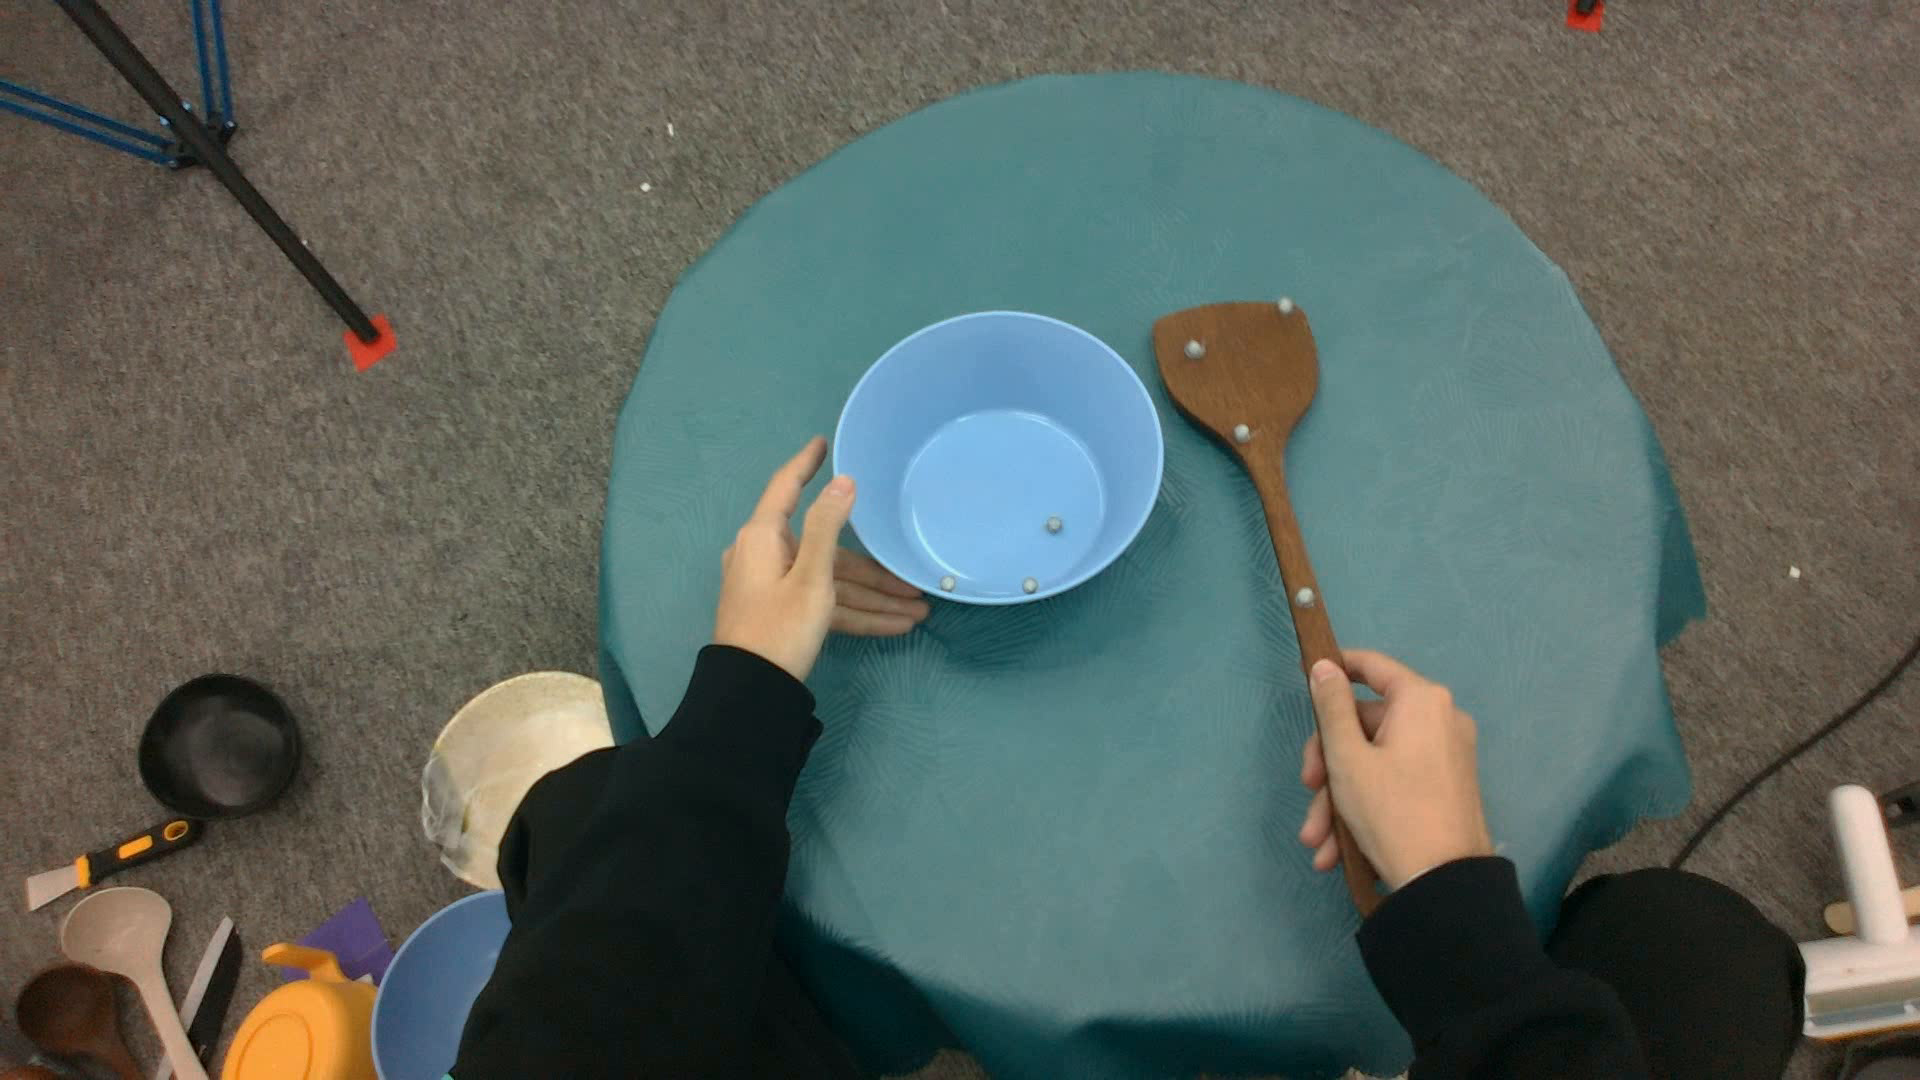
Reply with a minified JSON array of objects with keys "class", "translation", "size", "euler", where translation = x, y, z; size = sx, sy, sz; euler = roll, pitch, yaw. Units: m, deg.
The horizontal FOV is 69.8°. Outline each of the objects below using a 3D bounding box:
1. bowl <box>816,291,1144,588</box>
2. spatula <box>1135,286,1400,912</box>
[{"class":"bowl","translation":[0.012,-0.045,0.760],"size":[0.176,0.070,0.176],"euler":[-1,67,3]},{"class":"spatula","translation":[0.169,0.007,0.729],"size":[0.096,0.016,0.387],"euler":[-8,55,1]}]
